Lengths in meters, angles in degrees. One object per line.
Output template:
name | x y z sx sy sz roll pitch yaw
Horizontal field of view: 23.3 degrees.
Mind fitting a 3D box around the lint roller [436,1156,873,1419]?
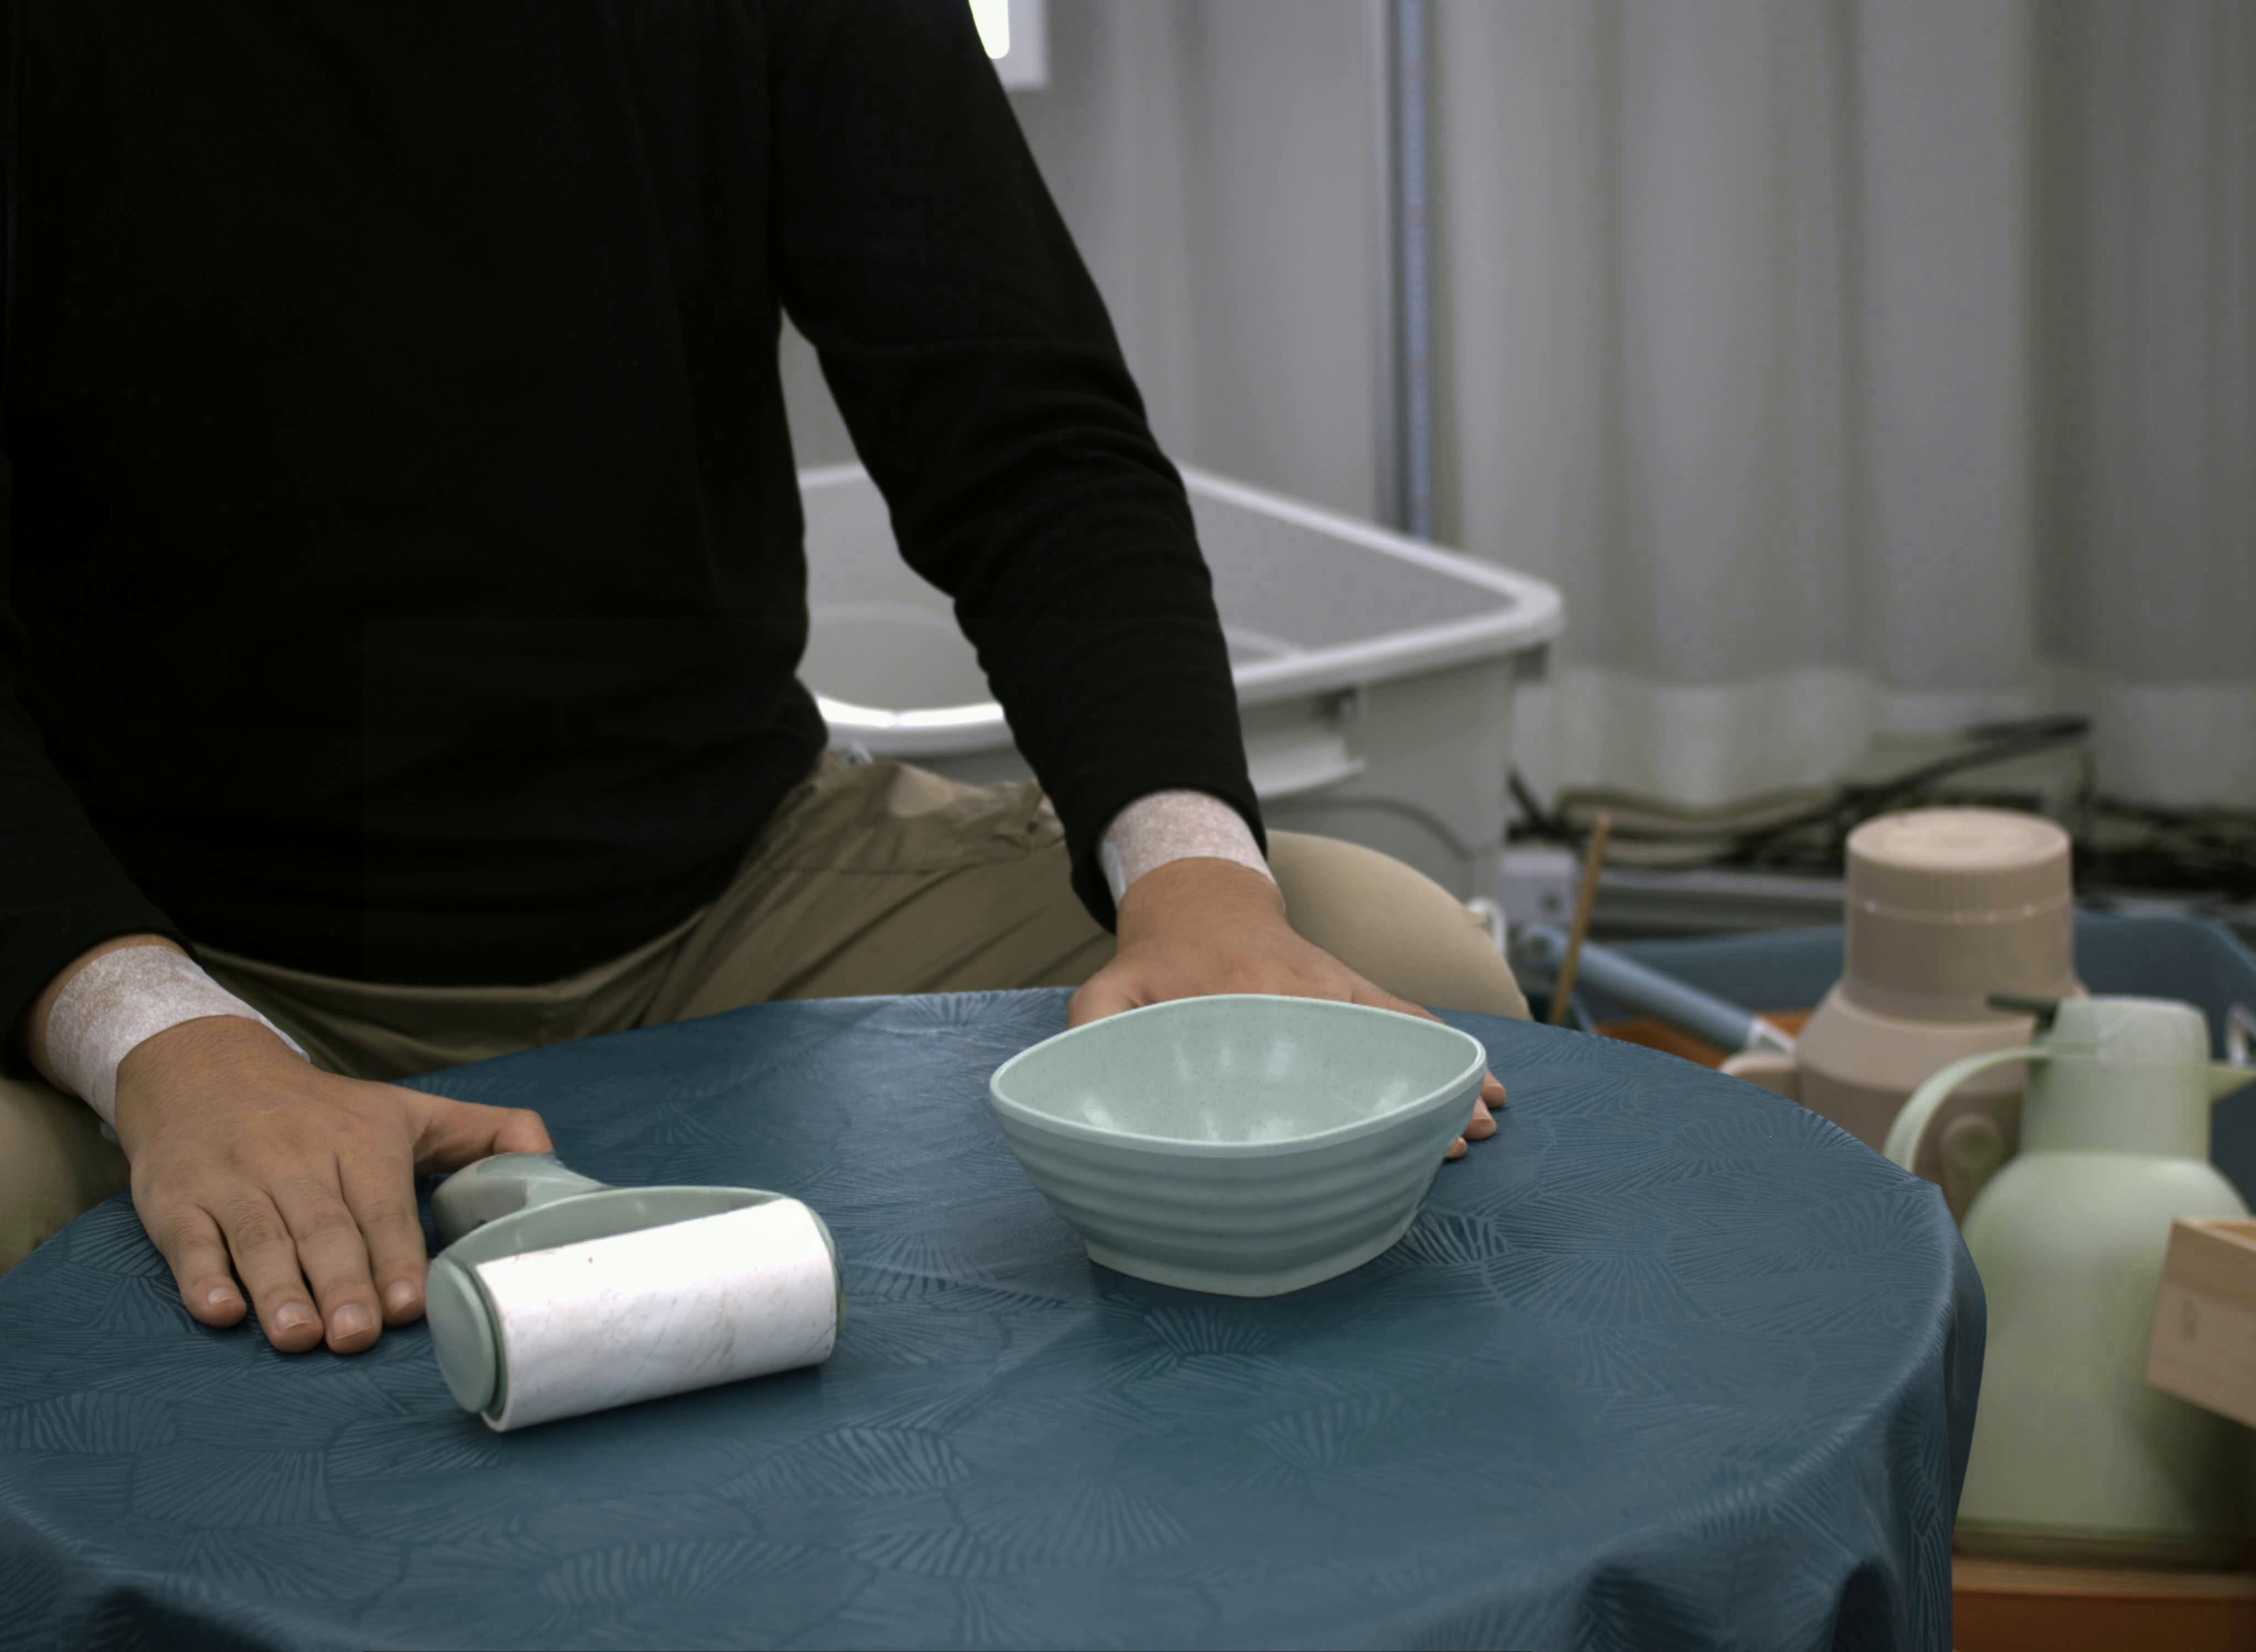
lint roller | -0.162 0.123 1.624 0.116 0.048 0.199 -11 15 -24

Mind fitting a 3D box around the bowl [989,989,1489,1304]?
bowl | 0.035 0.100 1.654 0.151 0.058 0.152 -2 16 0
